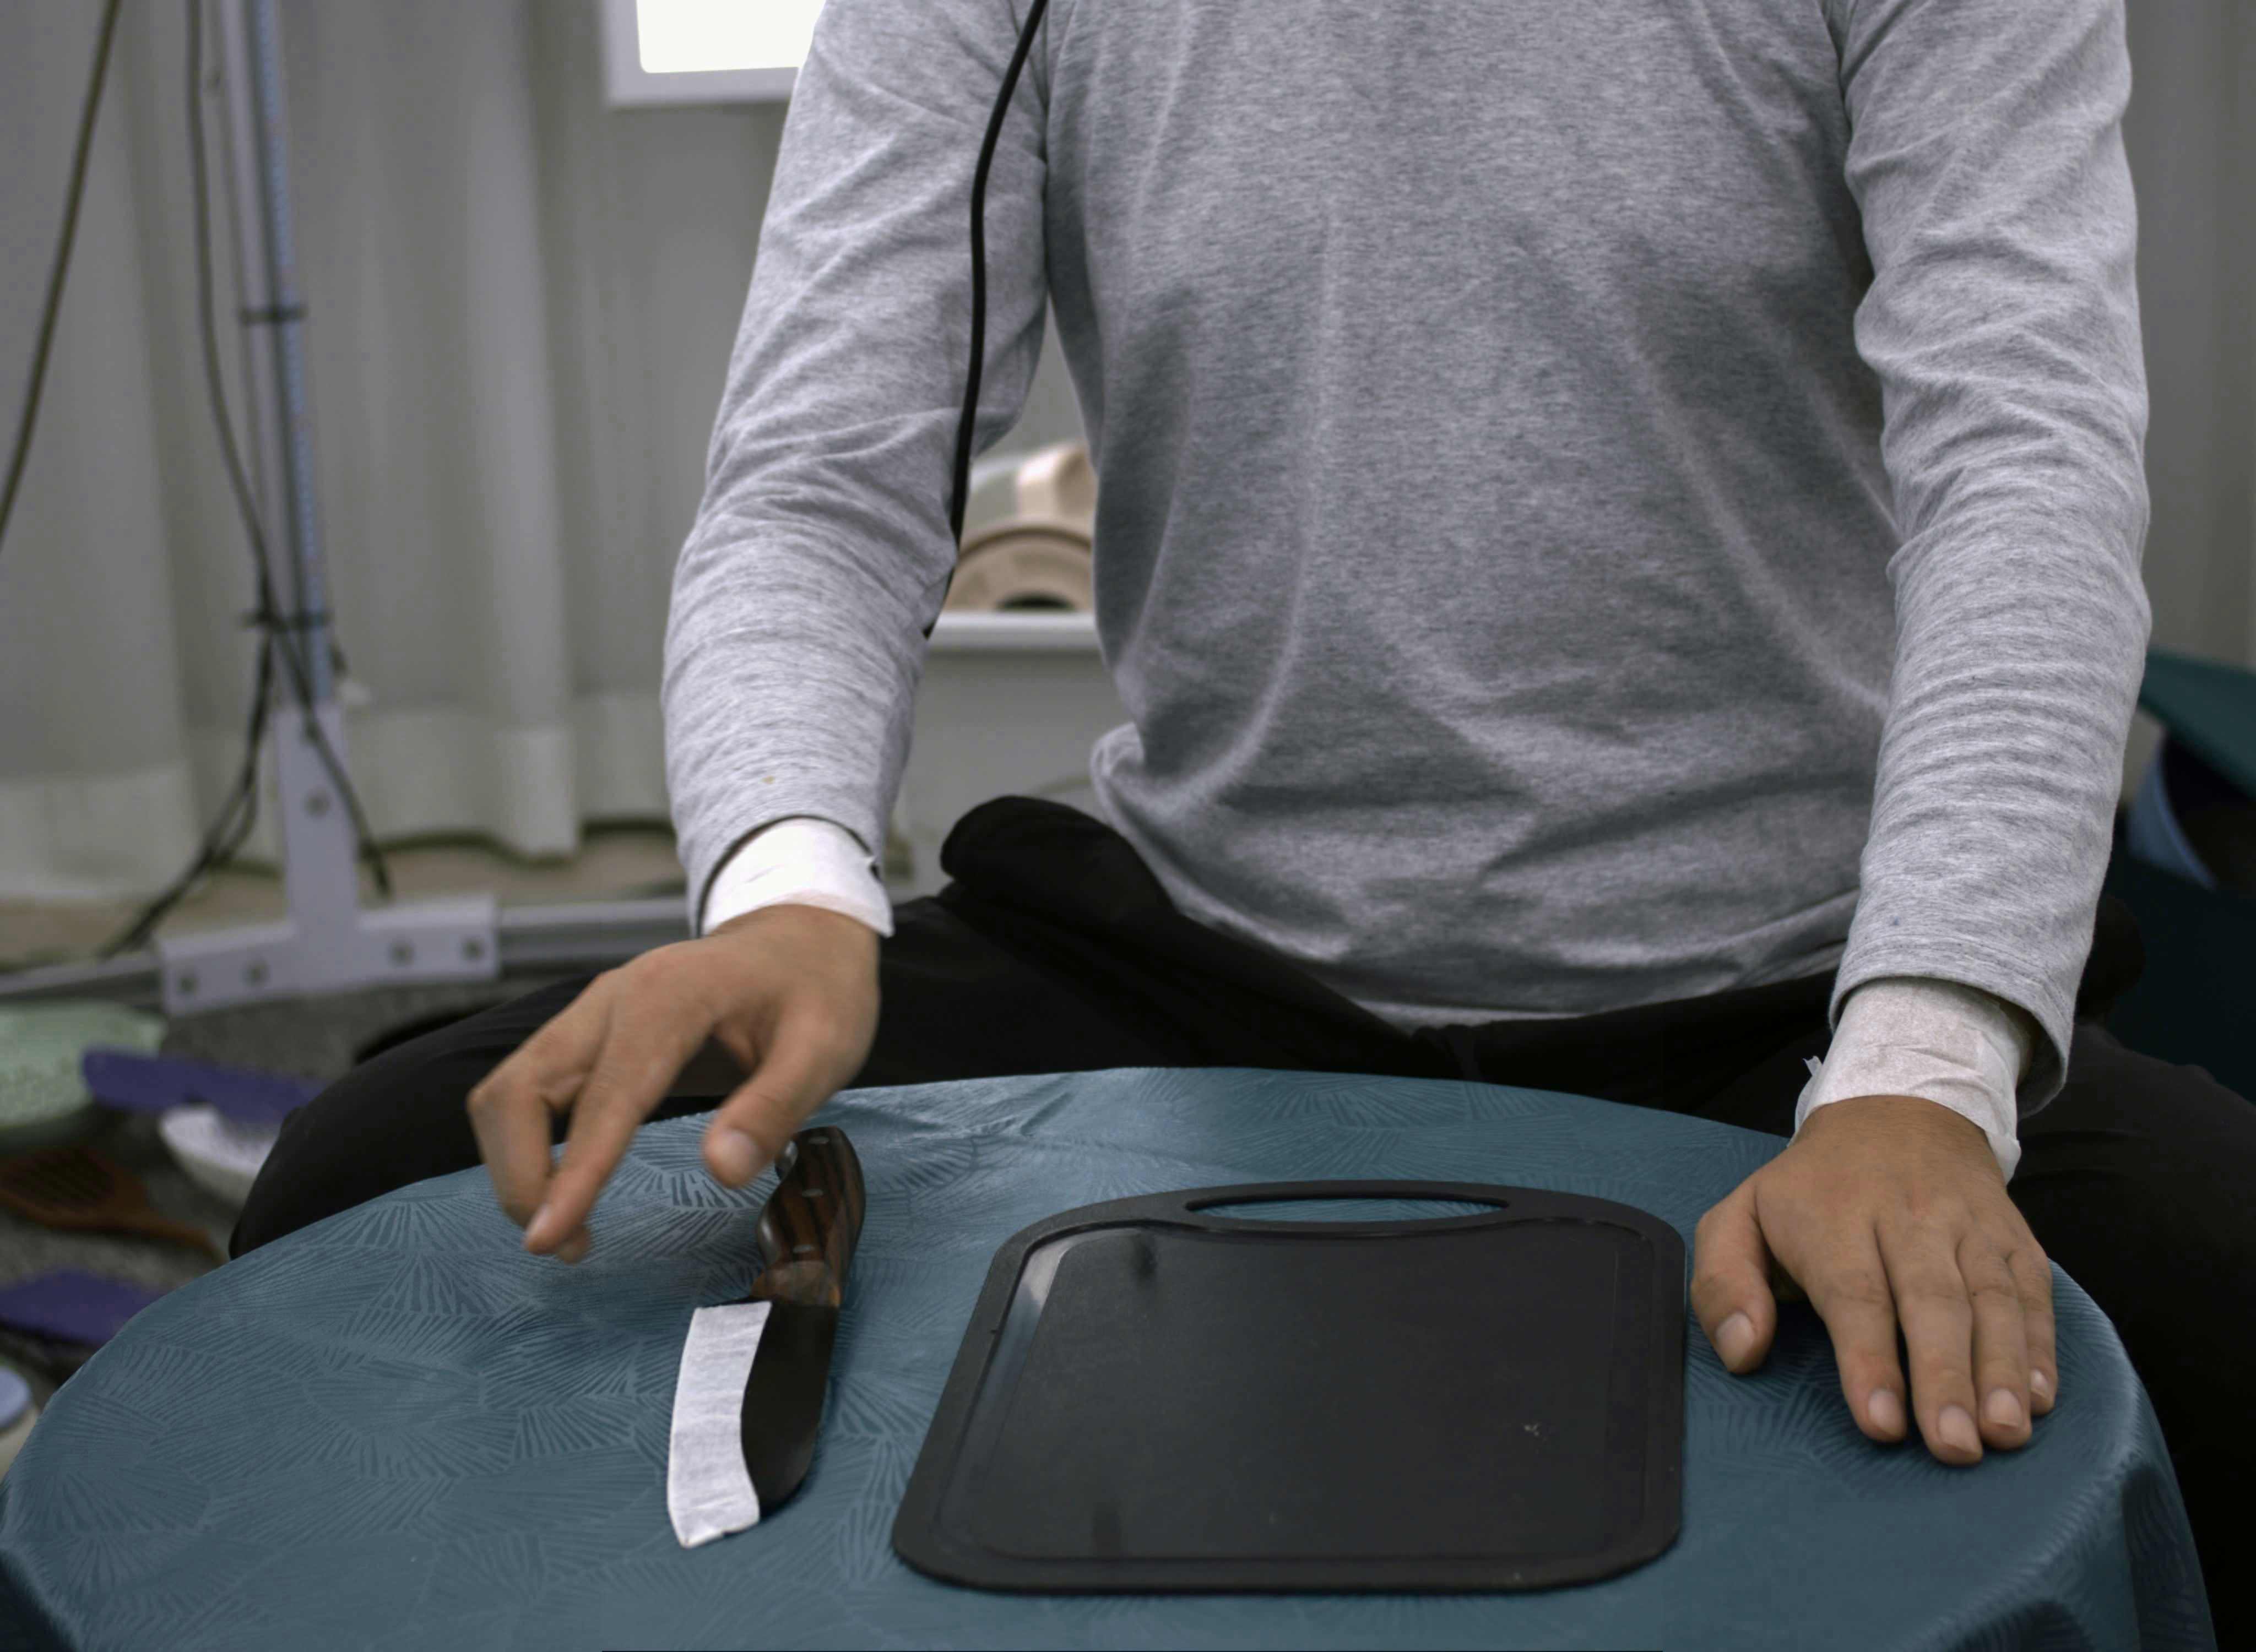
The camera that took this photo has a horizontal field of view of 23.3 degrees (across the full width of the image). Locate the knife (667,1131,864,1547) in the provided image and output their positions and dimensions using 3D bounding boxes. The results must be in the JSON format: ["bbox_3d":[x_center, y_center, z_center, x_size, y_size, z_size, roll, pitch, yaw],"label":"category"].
[{"bbox_3d":[-0.104,0.147,1.585,0.050,0.020,0.291,-6,17,5],"label":"knife"}]

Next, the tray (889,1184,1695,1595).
[{"bbox_3d":[0.053,0.153,1.552,0.210,0.010,0.327,-1,15,7],"label":"tray"}]
